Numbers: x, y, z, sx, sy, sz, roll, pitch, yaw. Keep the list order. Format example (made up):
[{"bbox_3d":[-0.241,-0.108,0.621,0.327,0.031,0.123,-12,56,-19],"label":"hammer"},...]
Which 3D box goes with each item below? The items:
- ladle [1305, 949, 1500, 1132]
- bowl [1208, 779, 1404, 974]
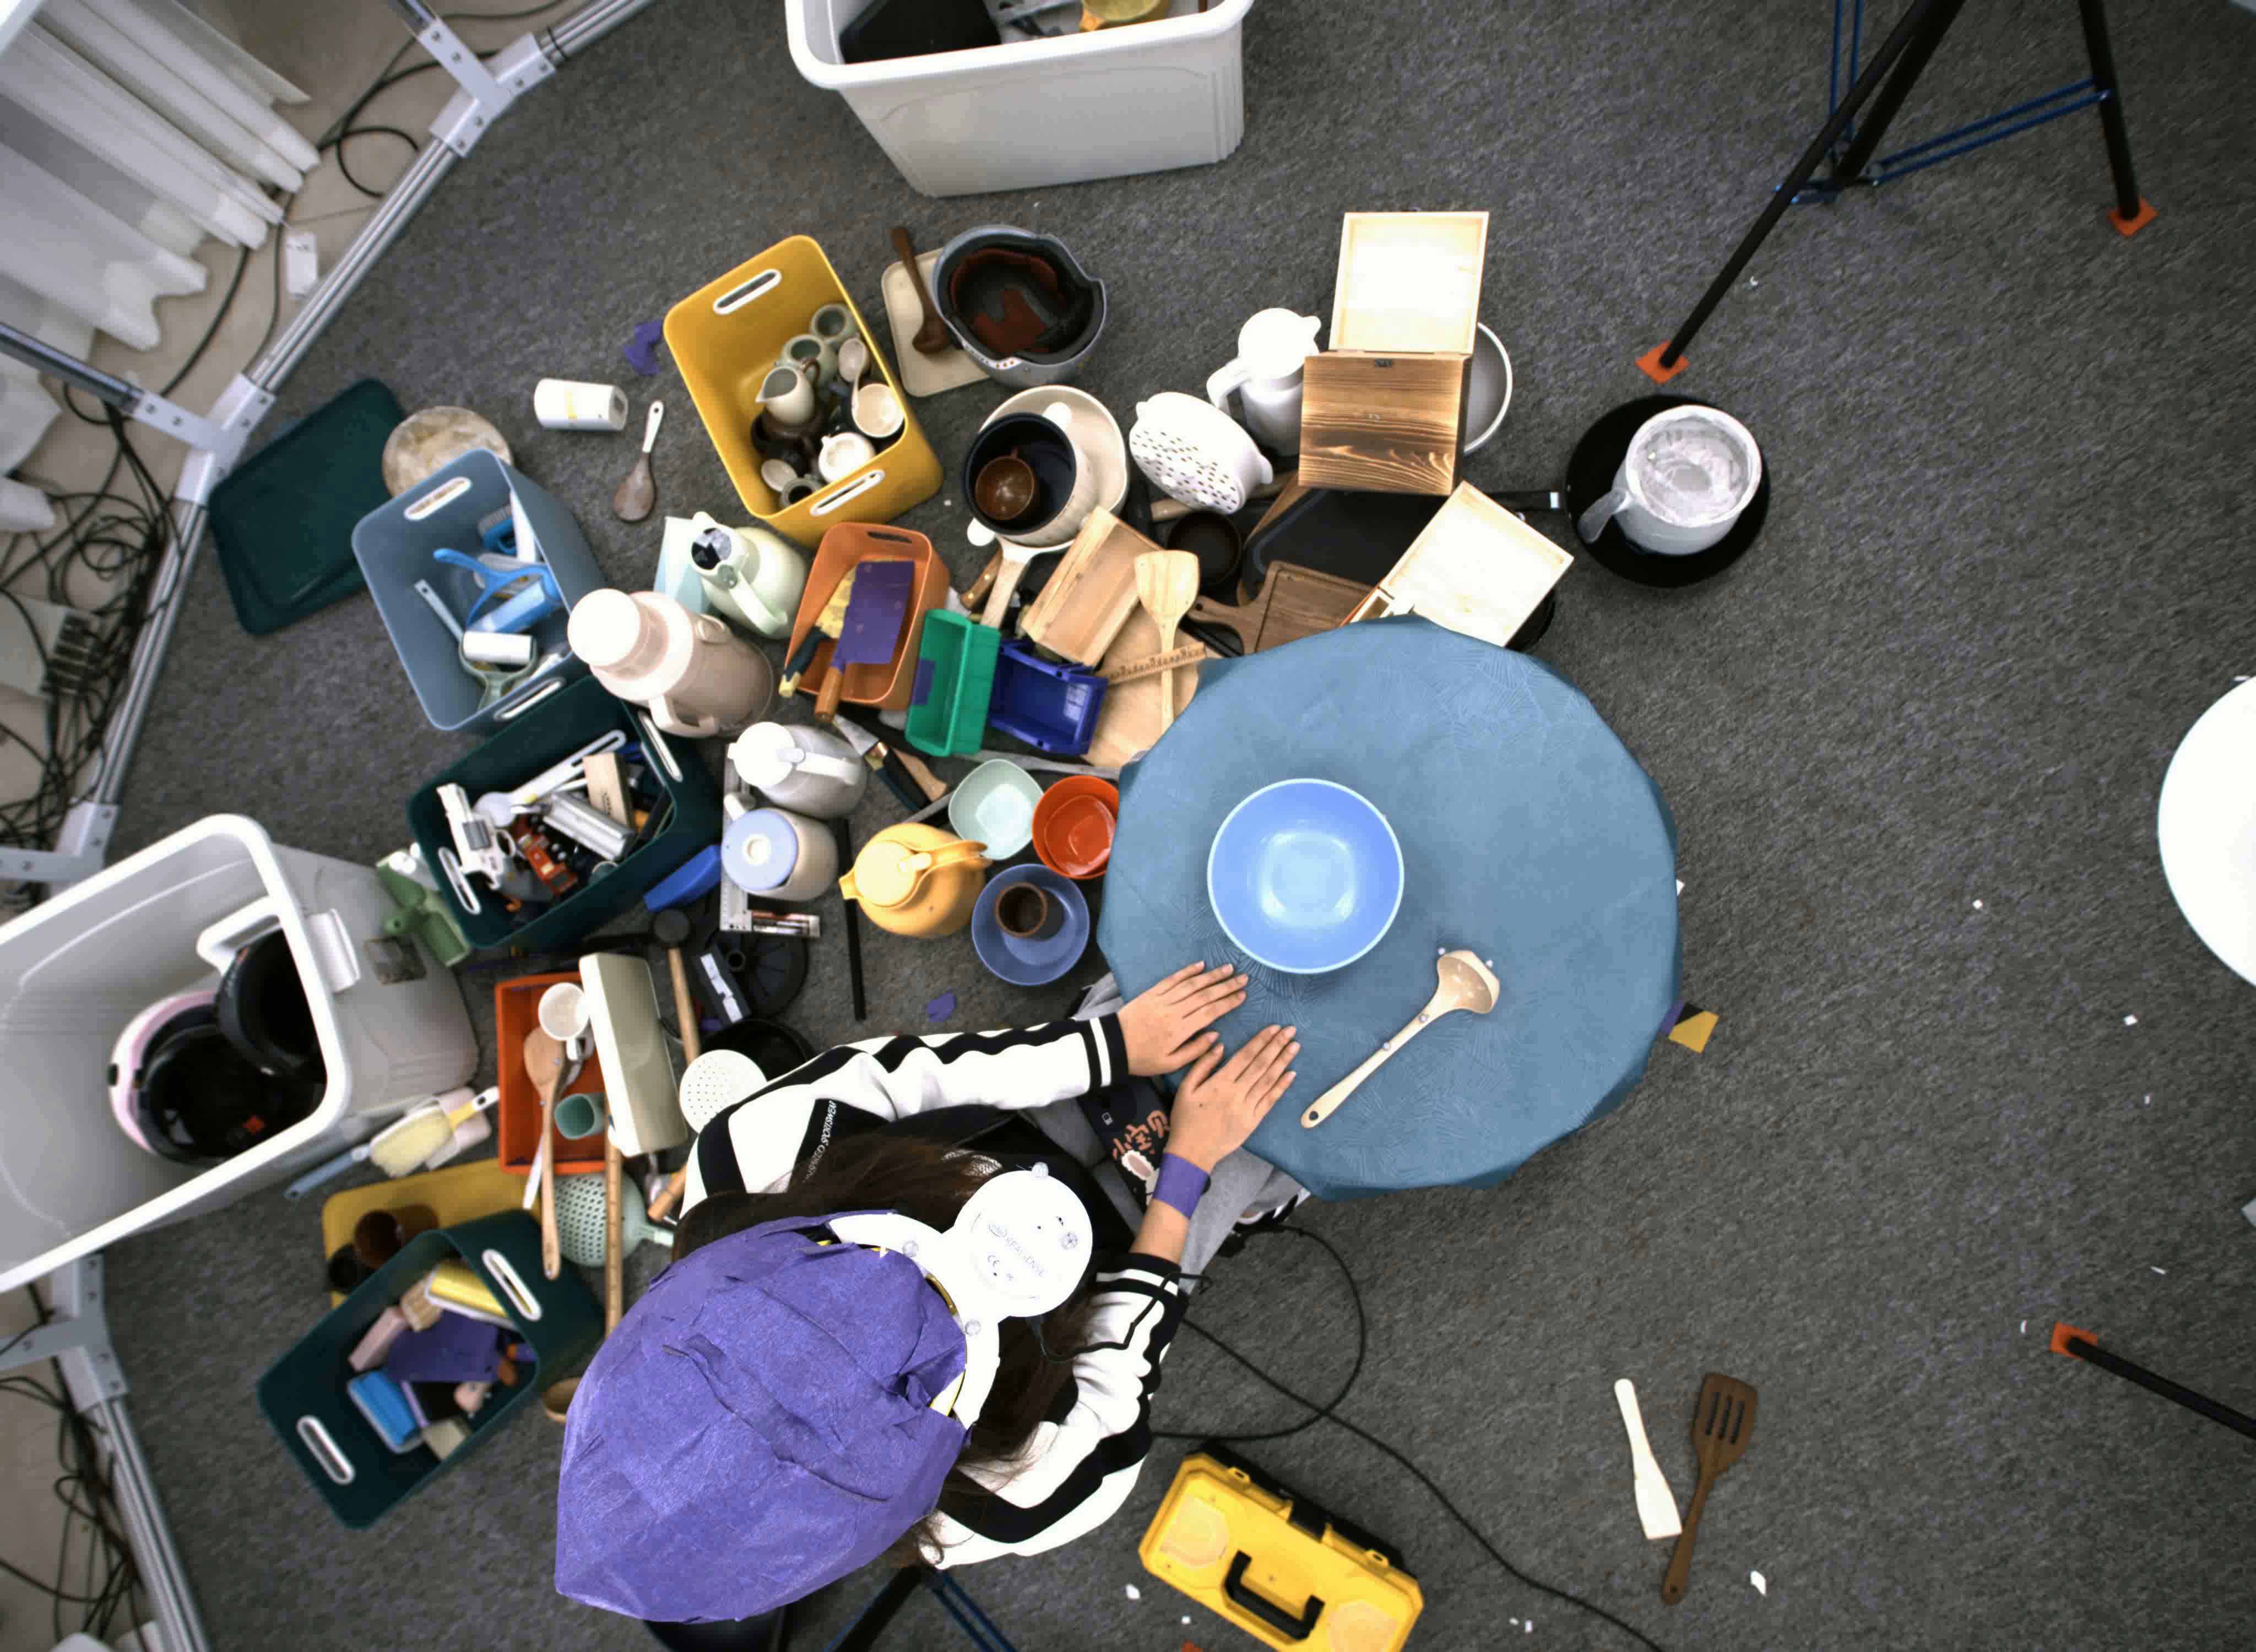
[{"bbox_3d":[0.273,0.226,1.414,0.255,0.073,0.072,-44,78,5],"label":"ladle"},{"bbox_3d":[0.185,0.053,1.432,0.197,0.095,0.196,-1,88,10],"label":"bowl"}]
